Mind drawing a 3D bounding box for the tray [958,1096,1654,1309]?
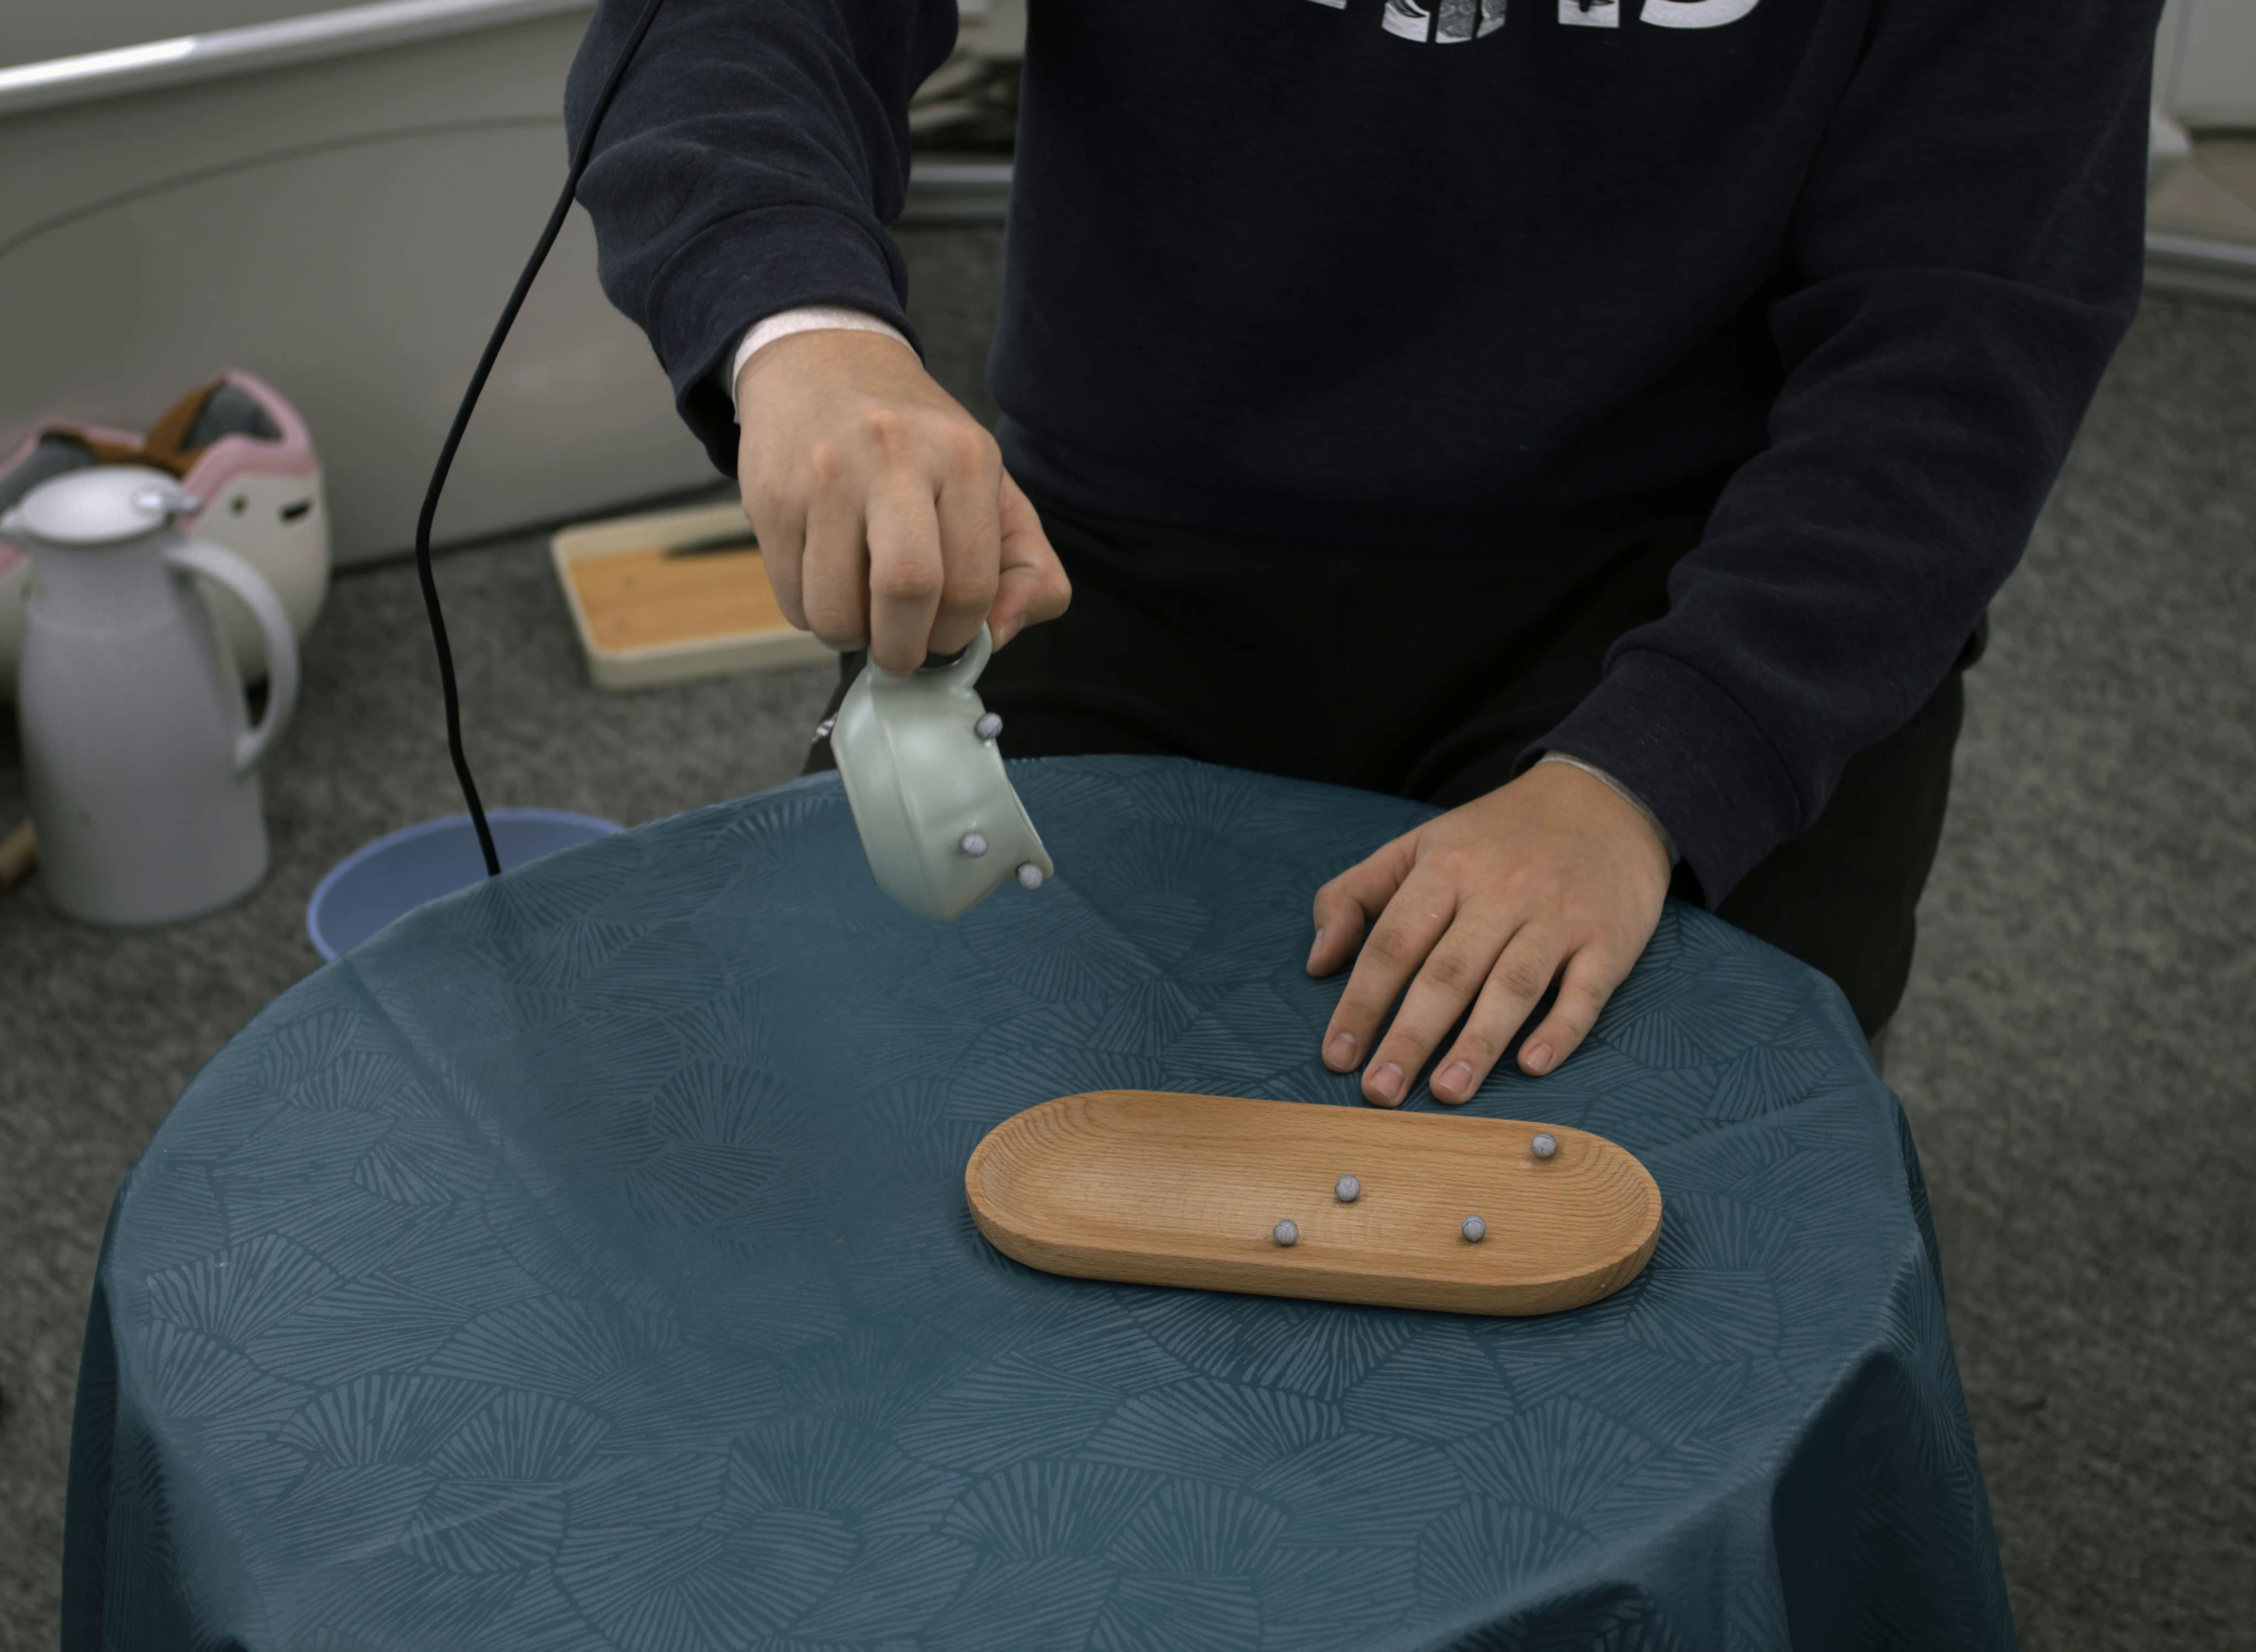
[{"bbox_3d":[0.057,0.124,1.840,0.229,0.020,0.103,2,26,13],"label":"tray"}]

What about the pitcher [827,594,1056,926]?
[{"bbox_3d":[-0.065,-0.022,1.783,0.060,0.107,0.087,-19,24,-1],"label":"pitcher"}]
